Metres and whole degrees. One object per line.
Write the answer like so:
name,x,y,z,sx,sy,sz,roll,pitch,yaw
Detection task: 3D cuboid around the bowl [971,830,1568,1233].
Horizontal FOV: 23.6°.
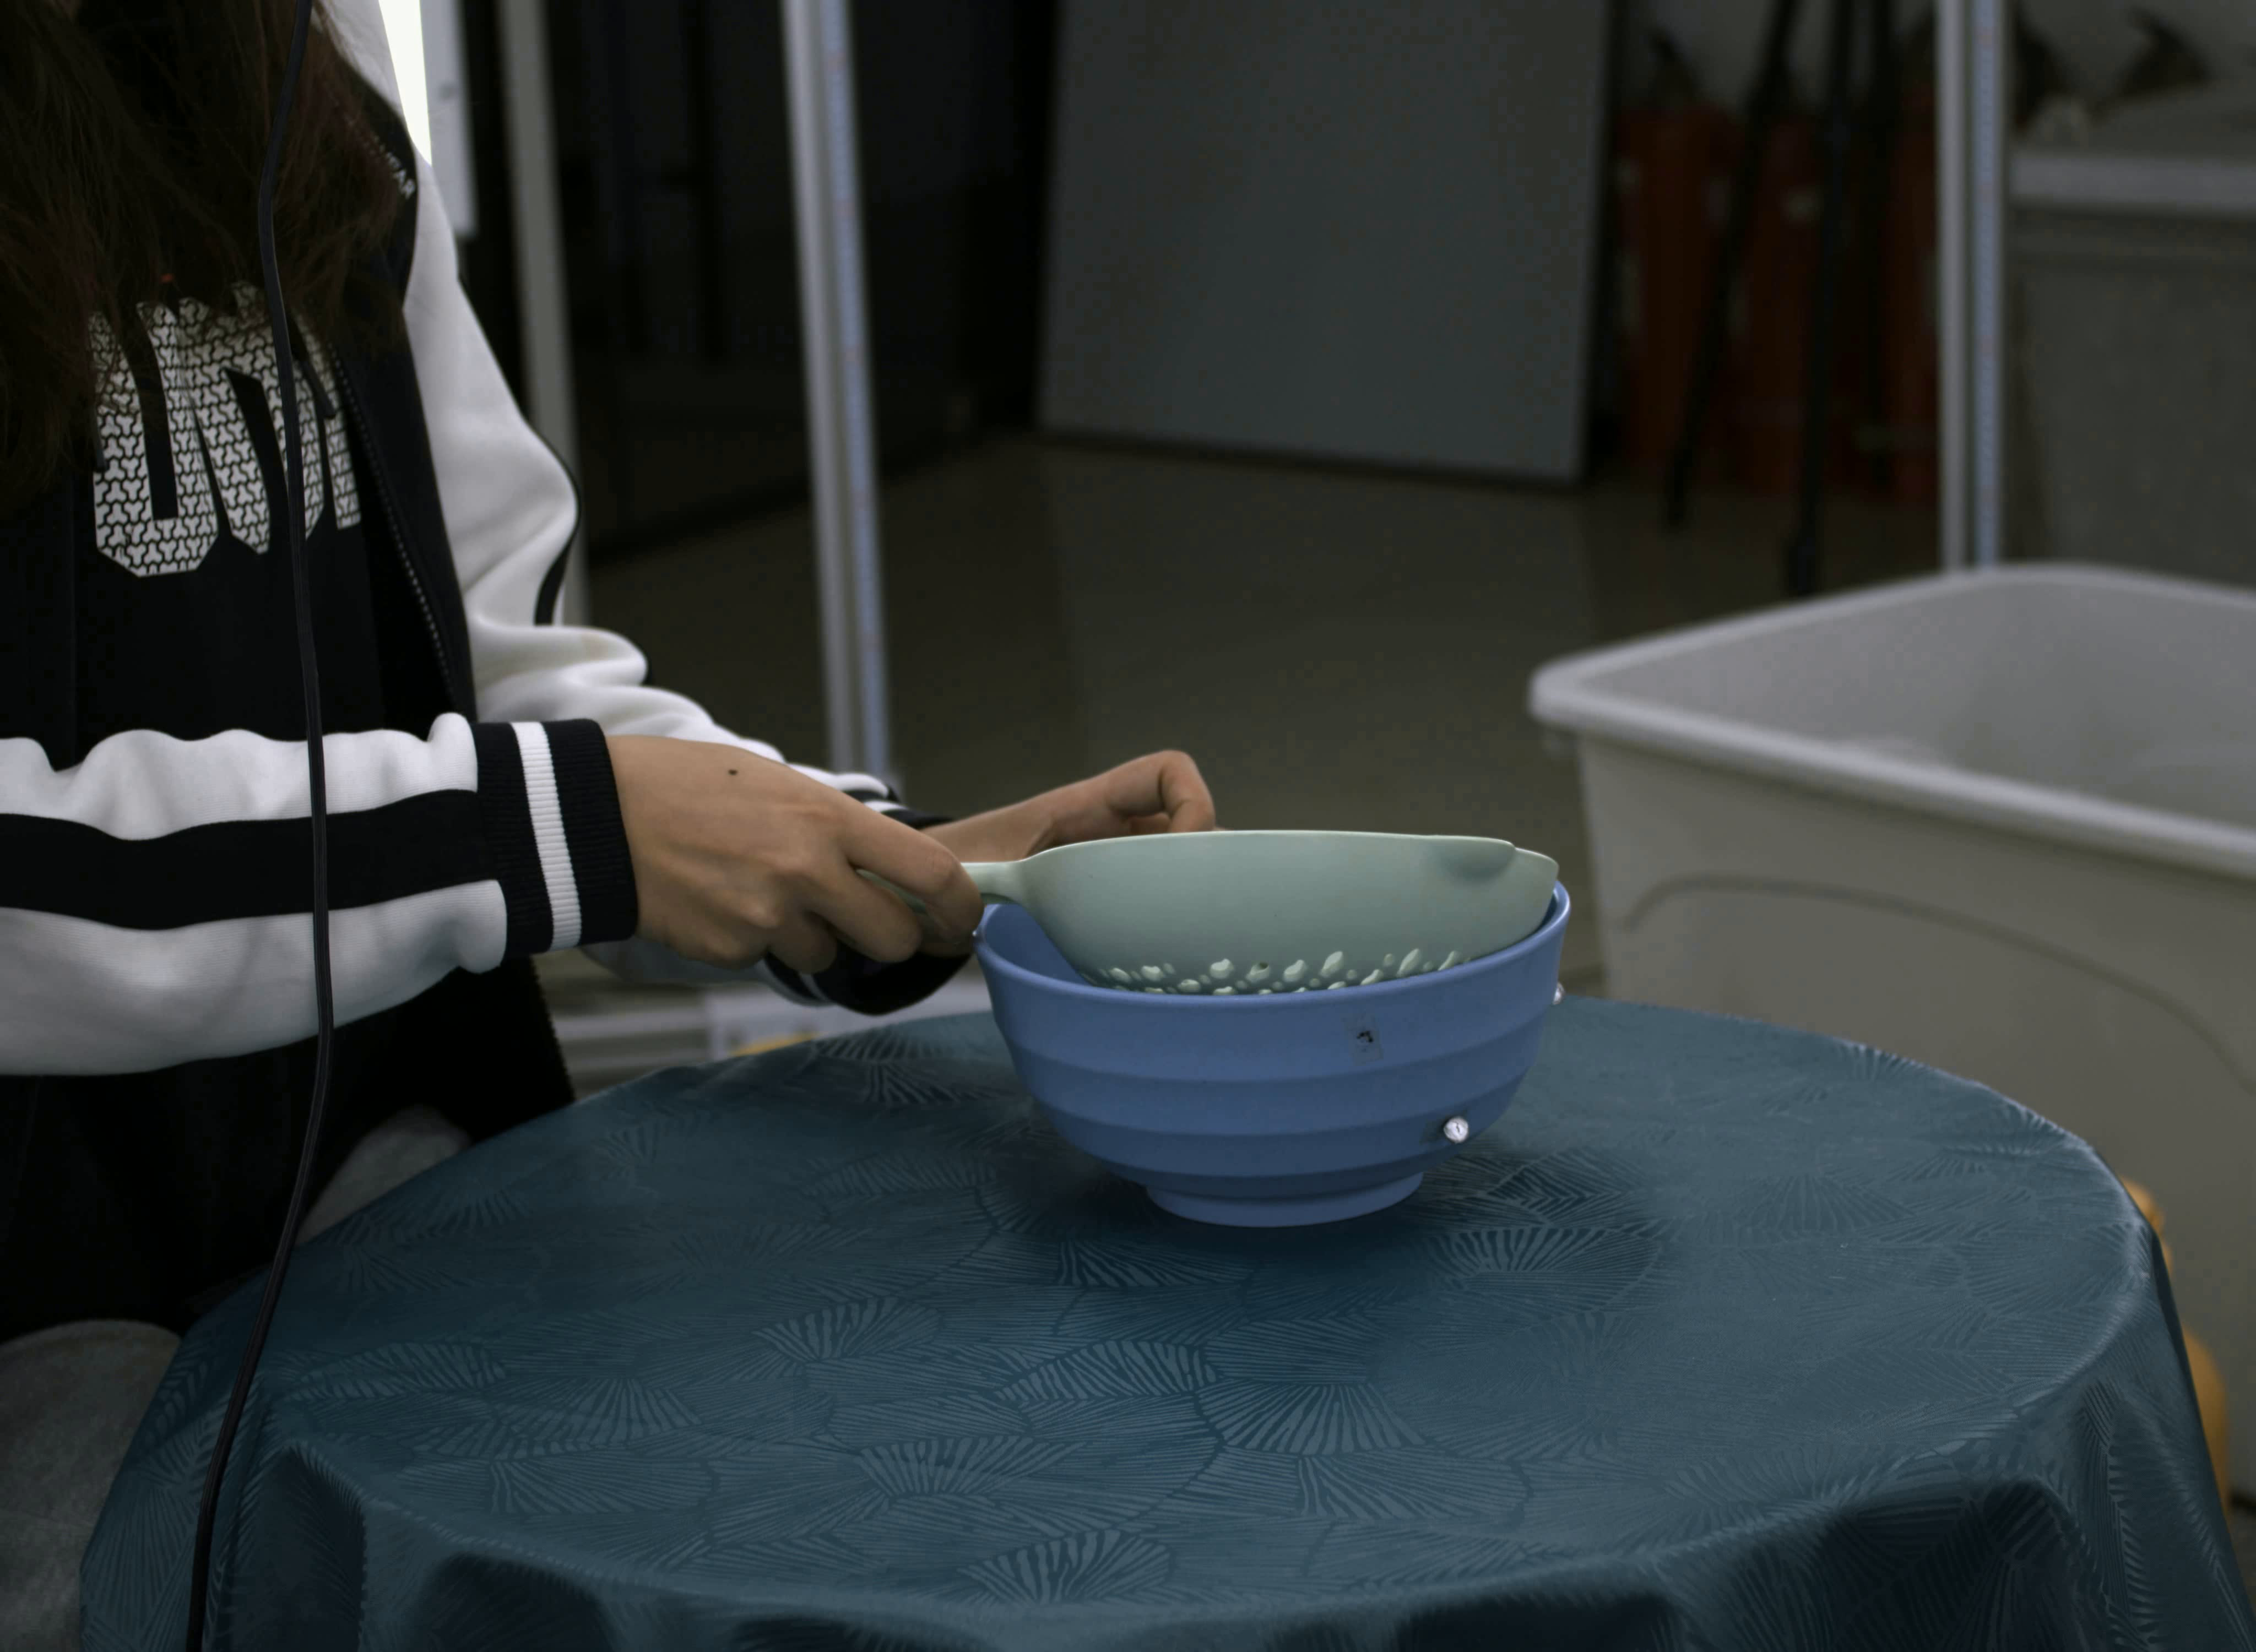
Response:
bowl,0.049,0.073,1.755,0.194,0.096,0.197,-5,14,0

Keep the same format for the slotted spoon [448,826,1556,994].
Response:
slotted spoon,-0.043,0.026,1.735,0.356,0.076,0.168,6,-7,10
